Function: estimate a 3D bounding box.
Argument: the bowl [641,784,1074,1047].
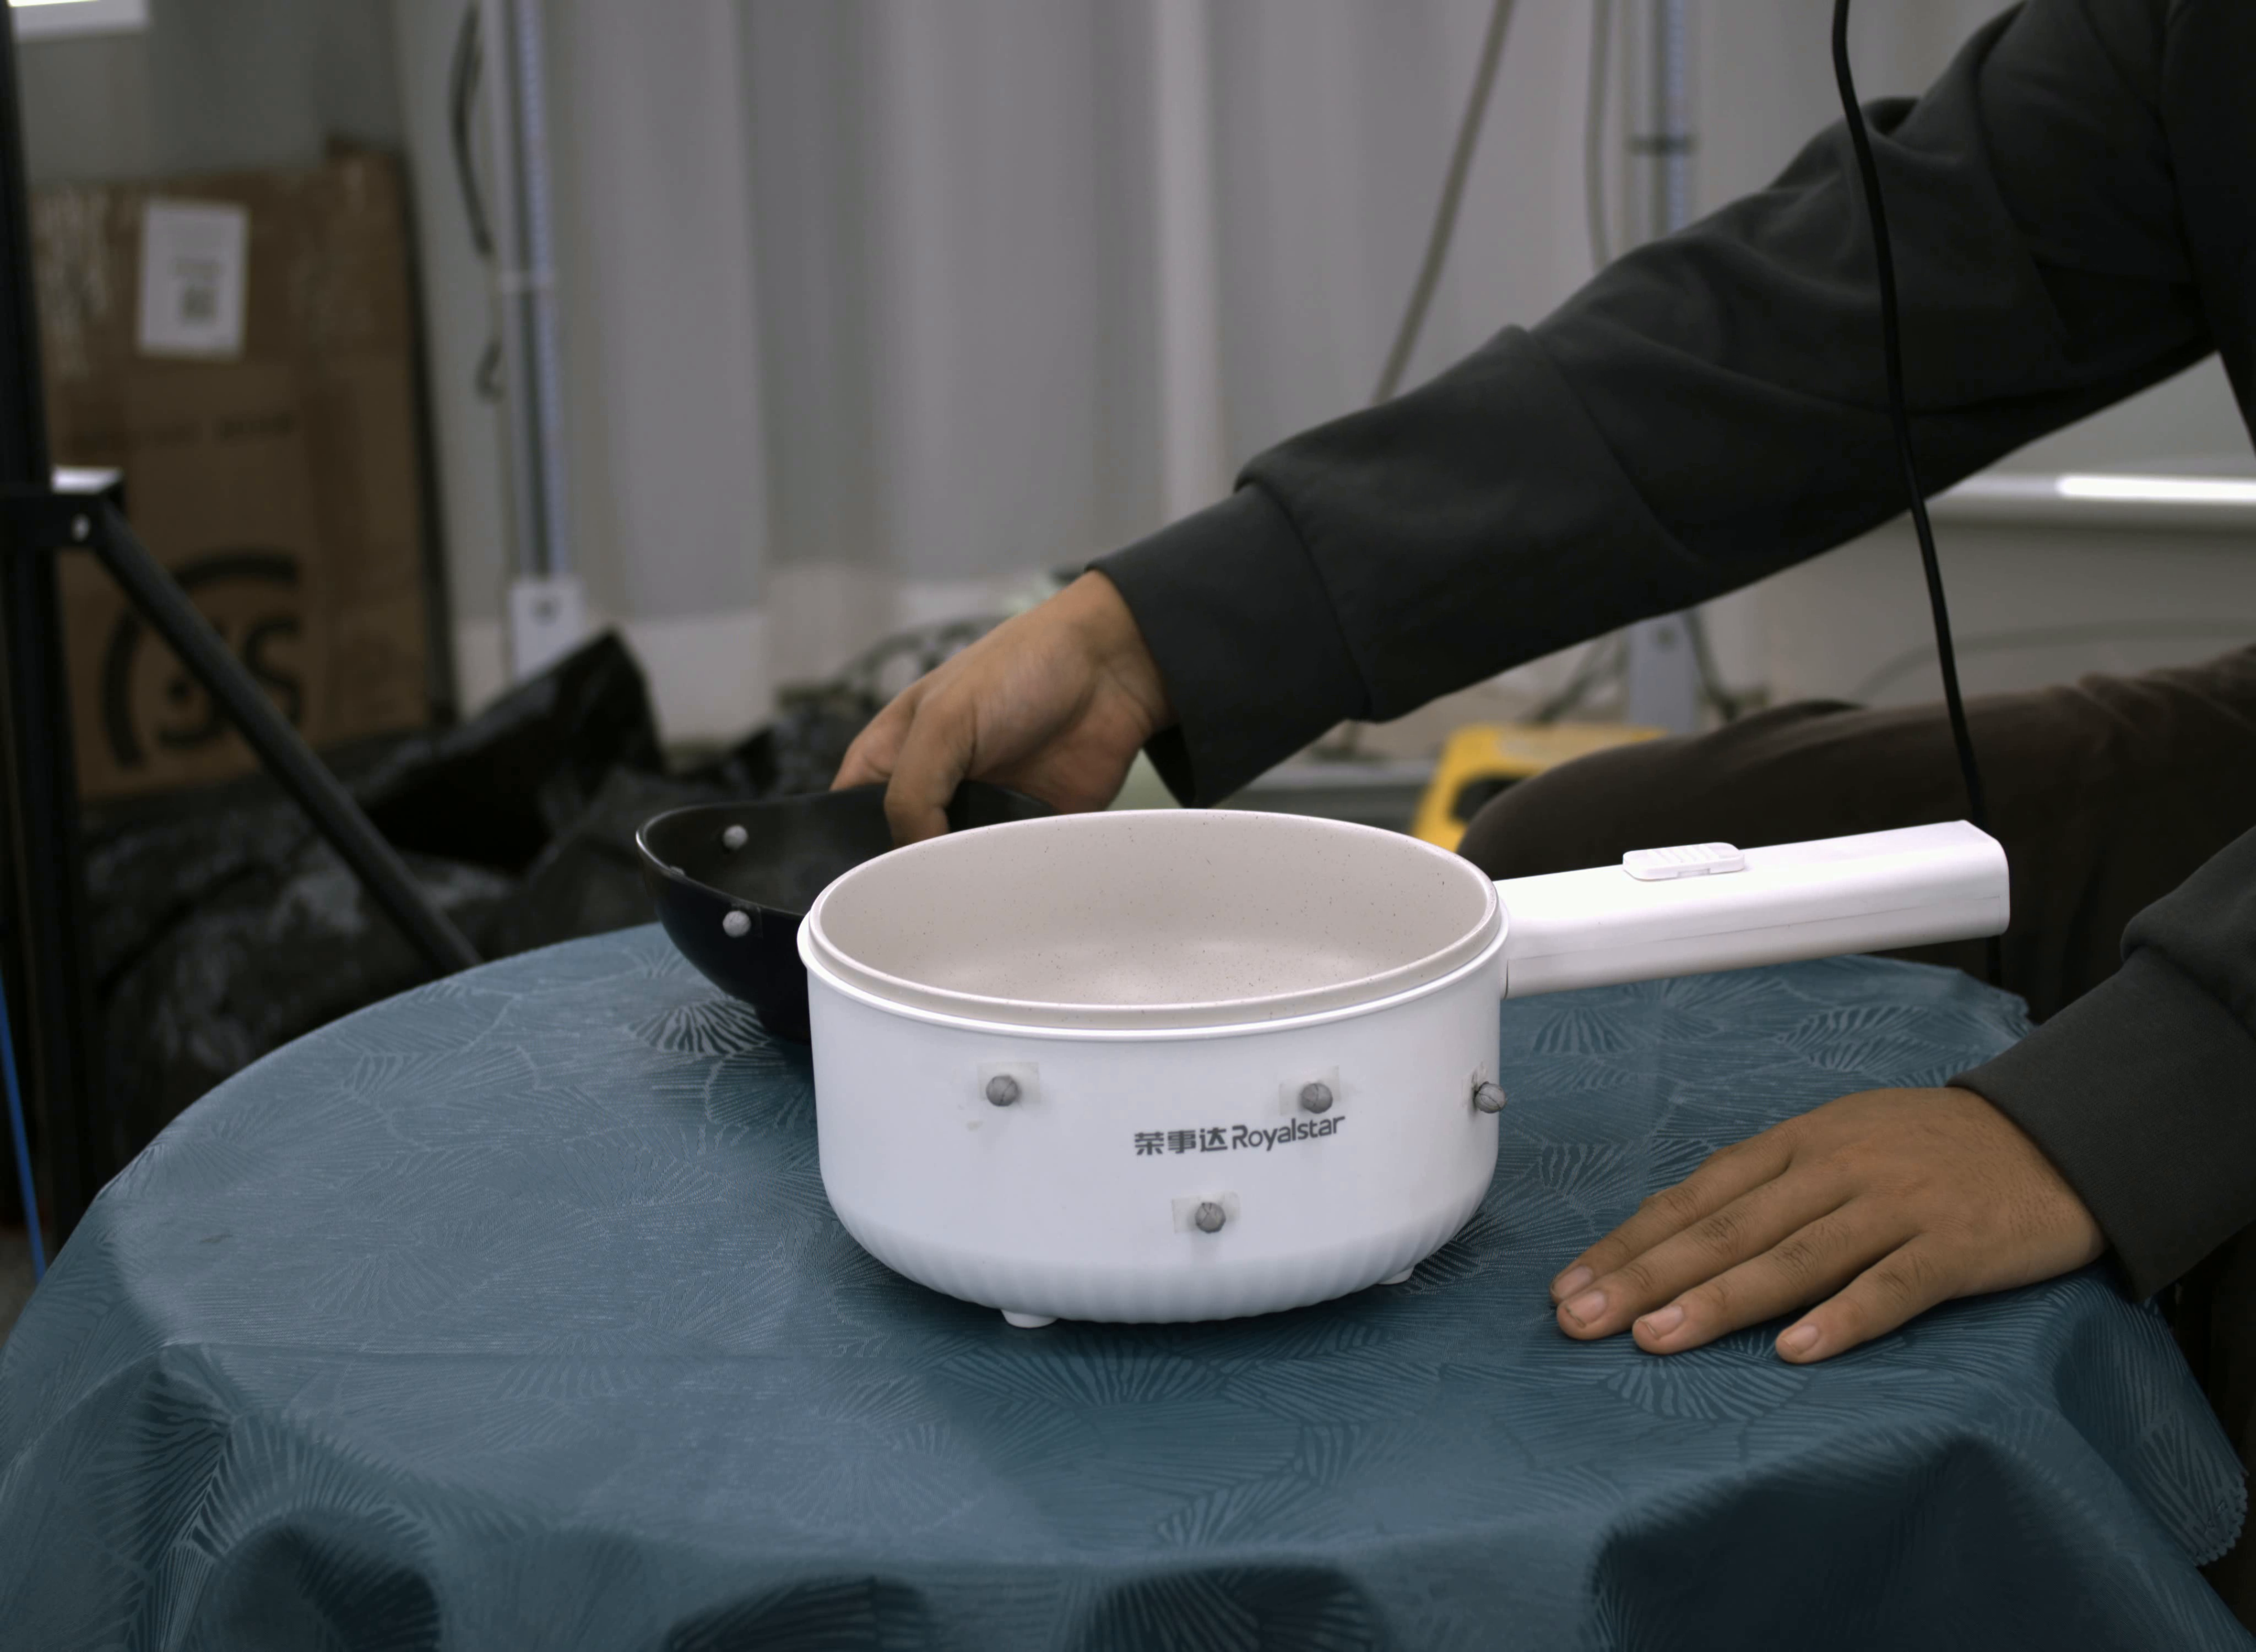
[{"bbox_3d":[-0.088,0.031,1.716,0.135,0.067,0.173,-7,16,-18],"label":"bowl"}]

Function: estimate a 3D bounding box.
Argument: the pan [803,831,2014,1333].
[{"bbox_3d":[0.082,0.069,1.523,0.349,0.102,0.204,-4,14,-13],"label":"pan"}]
